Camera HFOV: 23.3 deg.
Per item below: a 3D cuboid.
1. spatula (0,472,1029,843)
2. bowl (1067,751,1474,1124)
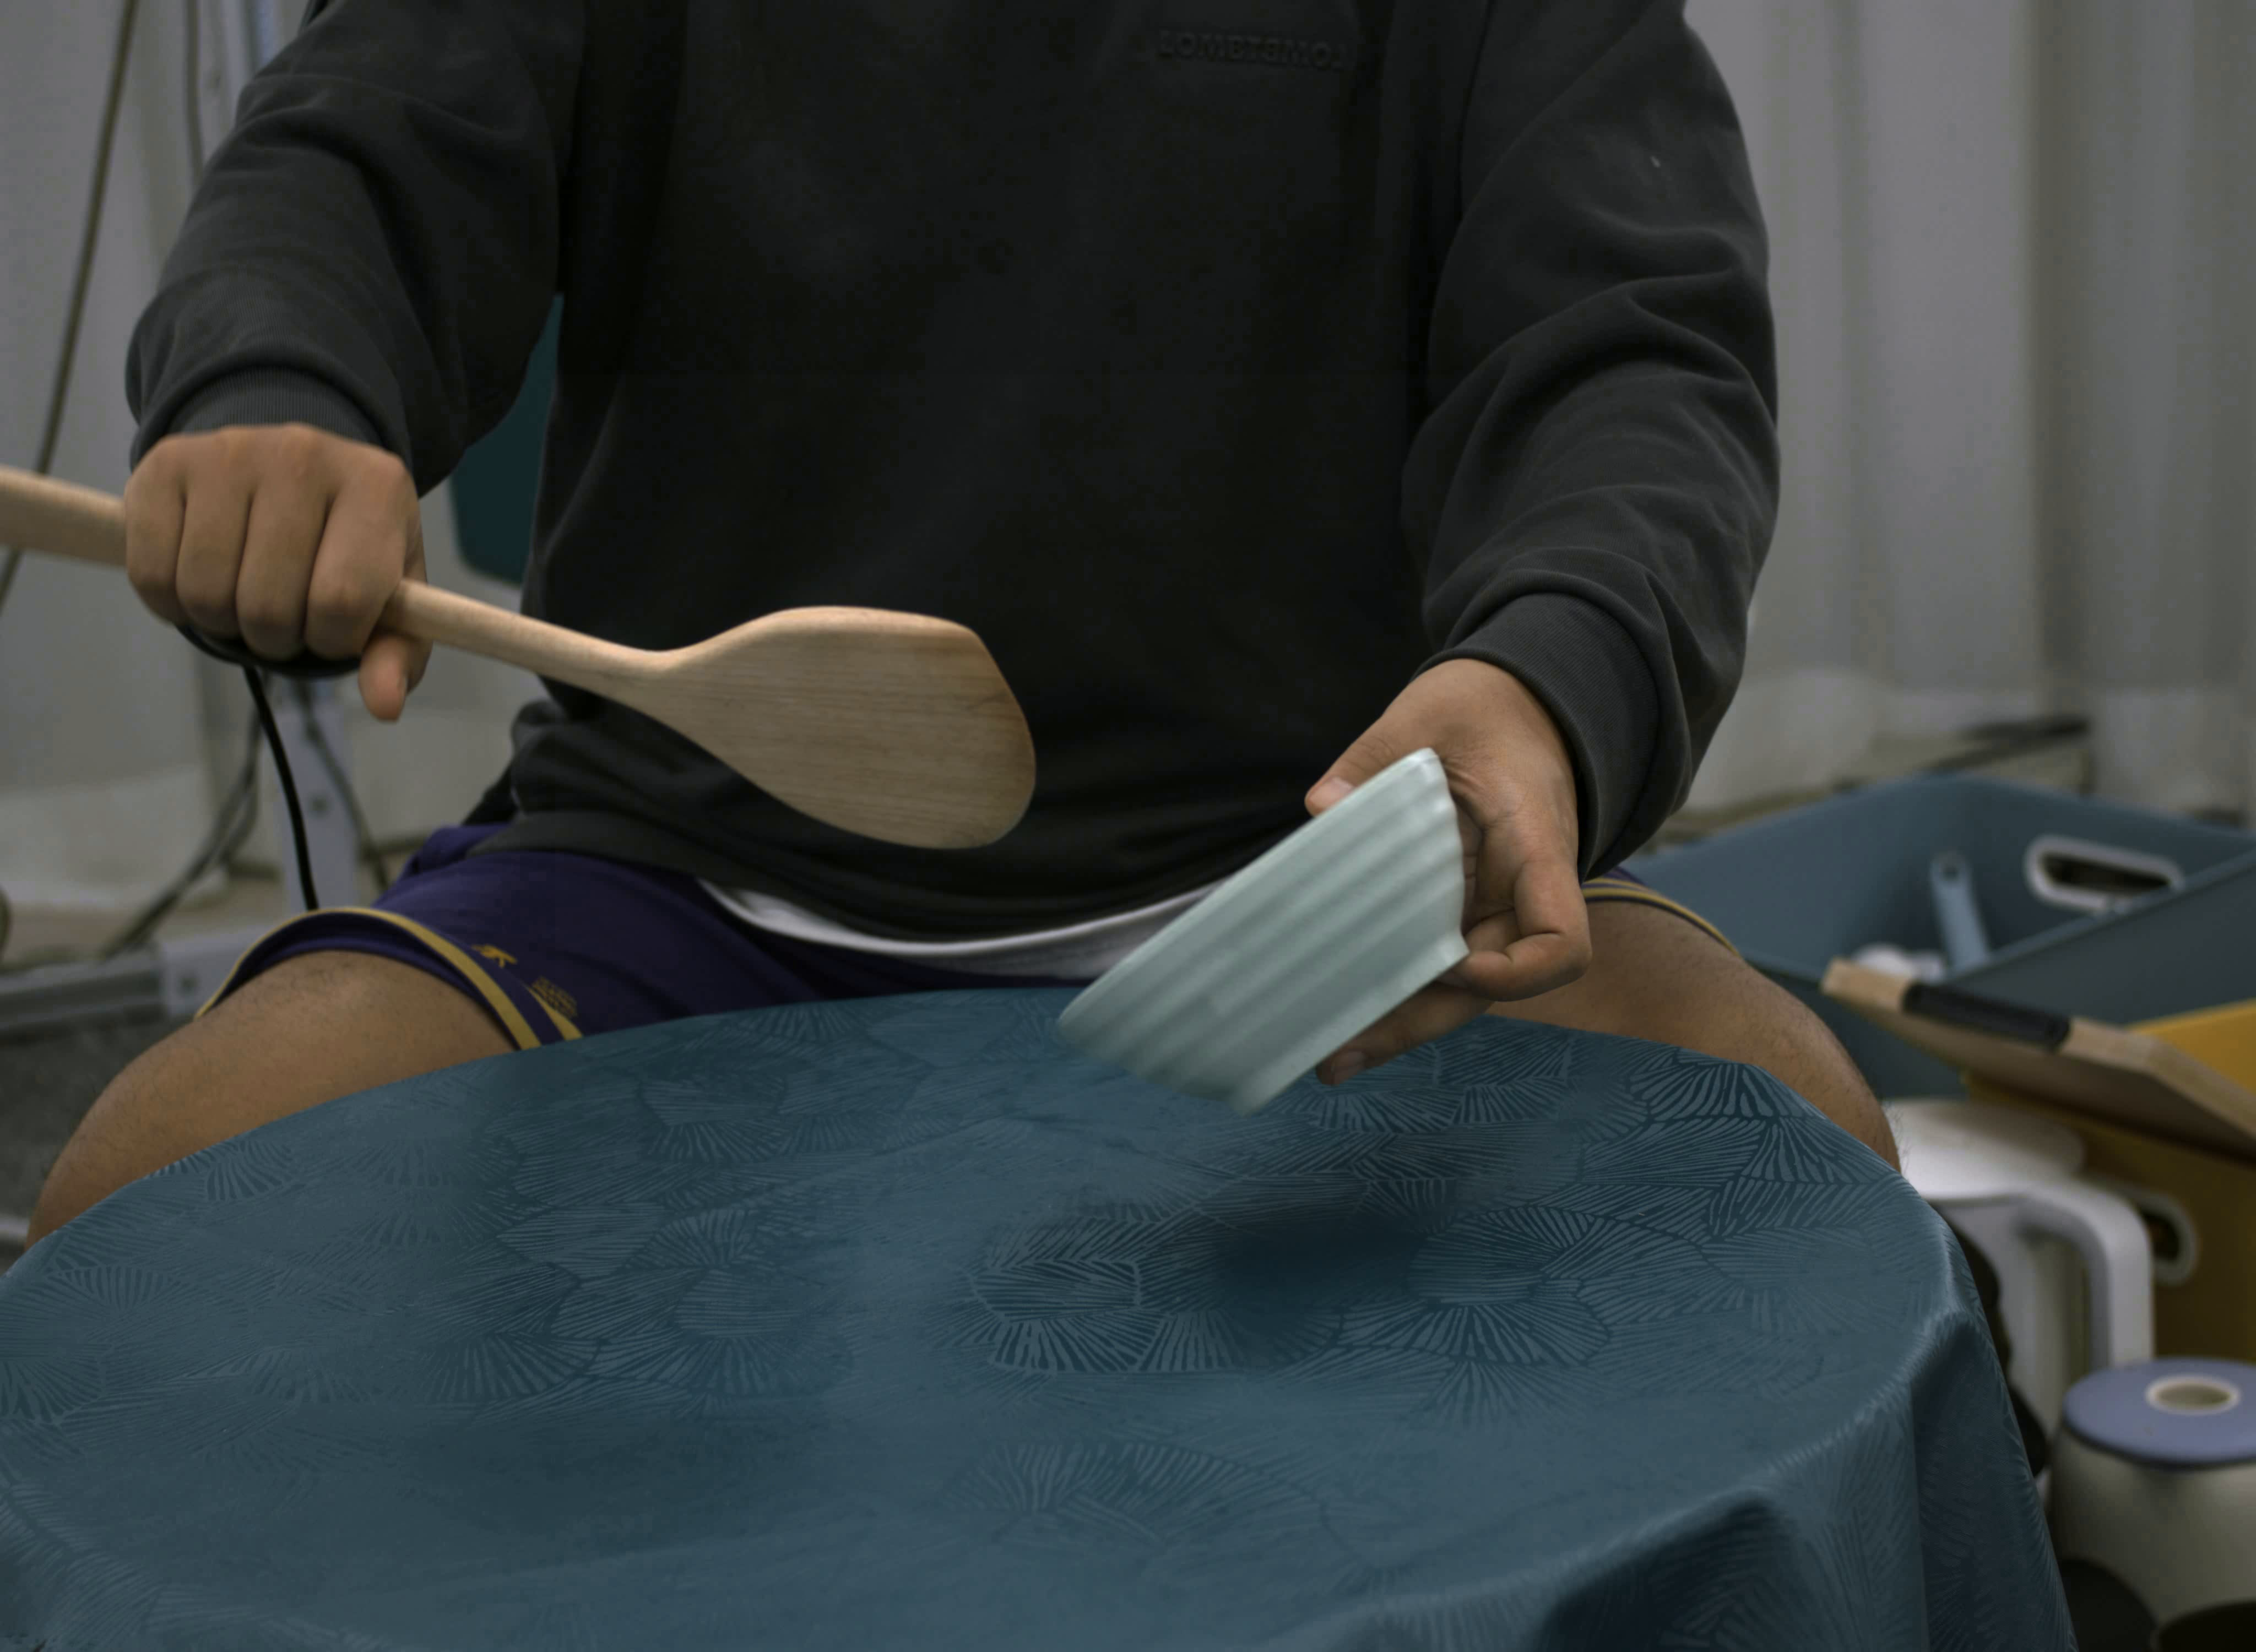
[{"bbox_3d":[-0.207,-0.065,1.595,0.392,0.094,0.018,14,47,22],"label":"spatula"},{"bbox_3d":[0.053,0.042,1.643,0.151,0.059,0.151,-36,-5,-4],"label":"bowl"}]
